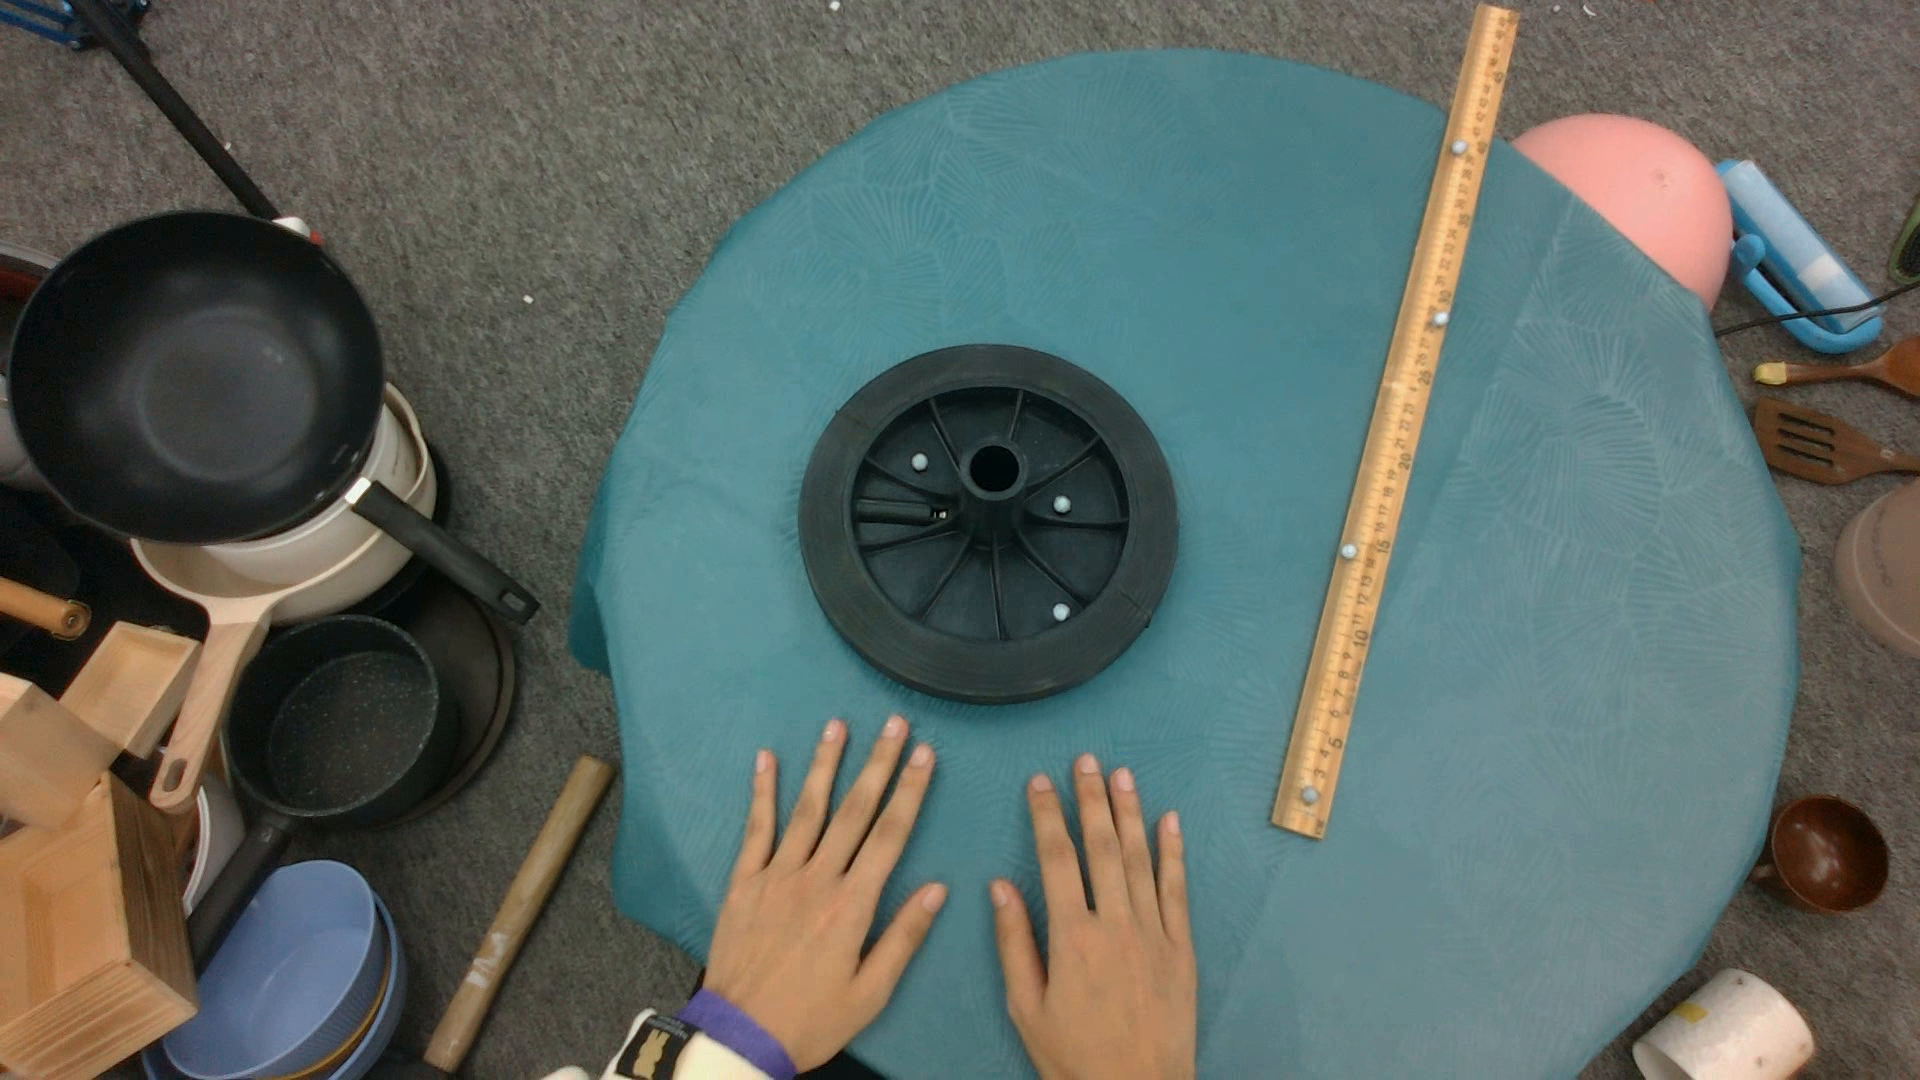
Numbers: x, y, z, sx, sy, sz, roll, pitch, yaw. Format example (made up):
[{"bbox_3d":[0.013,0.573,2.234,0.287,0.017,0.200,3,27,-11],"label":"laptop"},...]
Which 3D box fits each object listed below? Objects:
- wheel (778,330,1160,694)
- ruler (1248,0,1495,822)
[{"bbox_3d":[0.006,-0.024,0.662,0.190,0.079,0.188,-17,71,-9],"label":"wheel"},{"bbox_3d":[0.226,-0.094,0.728,0.027,0.006,0.502,18,71,4],"label":"ruler"}]
